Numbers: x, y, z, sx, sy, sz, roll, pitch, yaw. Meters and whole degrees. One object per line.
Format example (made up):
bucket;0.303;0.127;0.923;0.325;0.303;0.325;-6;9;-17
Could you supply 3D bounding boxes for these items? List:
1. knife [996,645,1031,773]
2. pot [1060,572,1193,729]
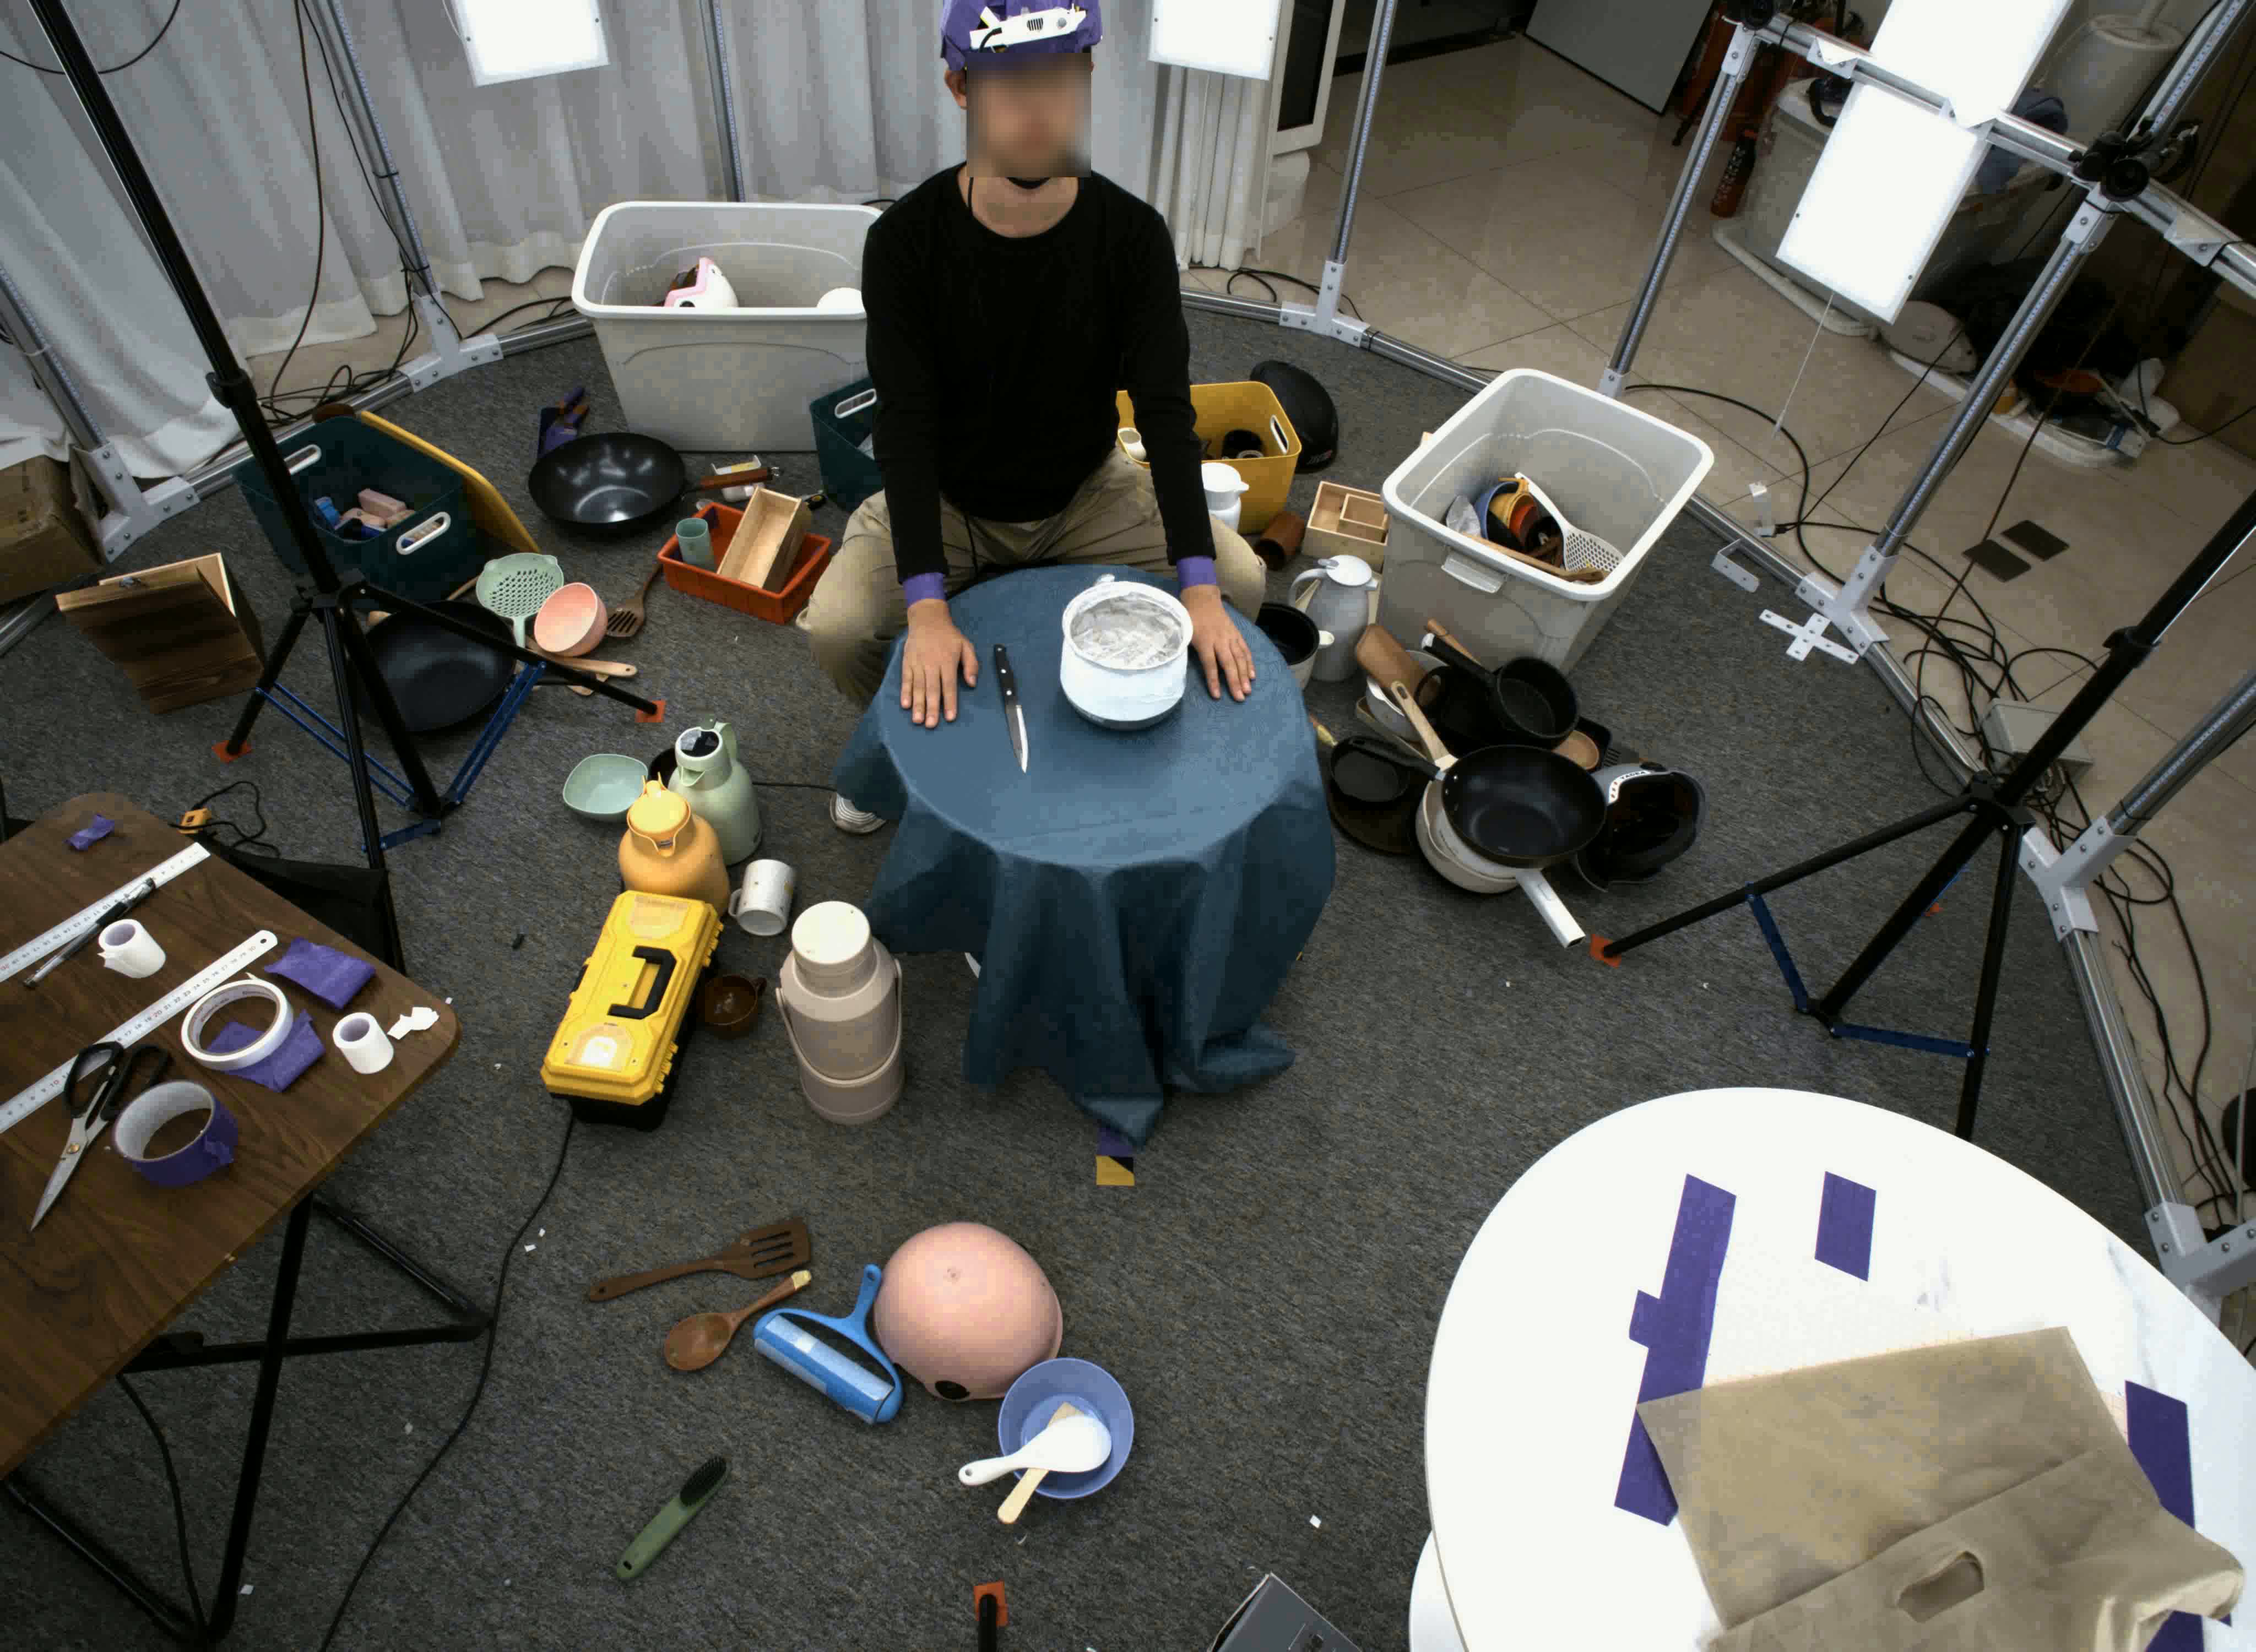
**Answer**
knife;-0.161;-0.166;1.796;0.024;0.016;0.244;-7;53;-9
pot;-0.013;-0.254;1.797;0.178;0.133;0.239;-10;52;-13
